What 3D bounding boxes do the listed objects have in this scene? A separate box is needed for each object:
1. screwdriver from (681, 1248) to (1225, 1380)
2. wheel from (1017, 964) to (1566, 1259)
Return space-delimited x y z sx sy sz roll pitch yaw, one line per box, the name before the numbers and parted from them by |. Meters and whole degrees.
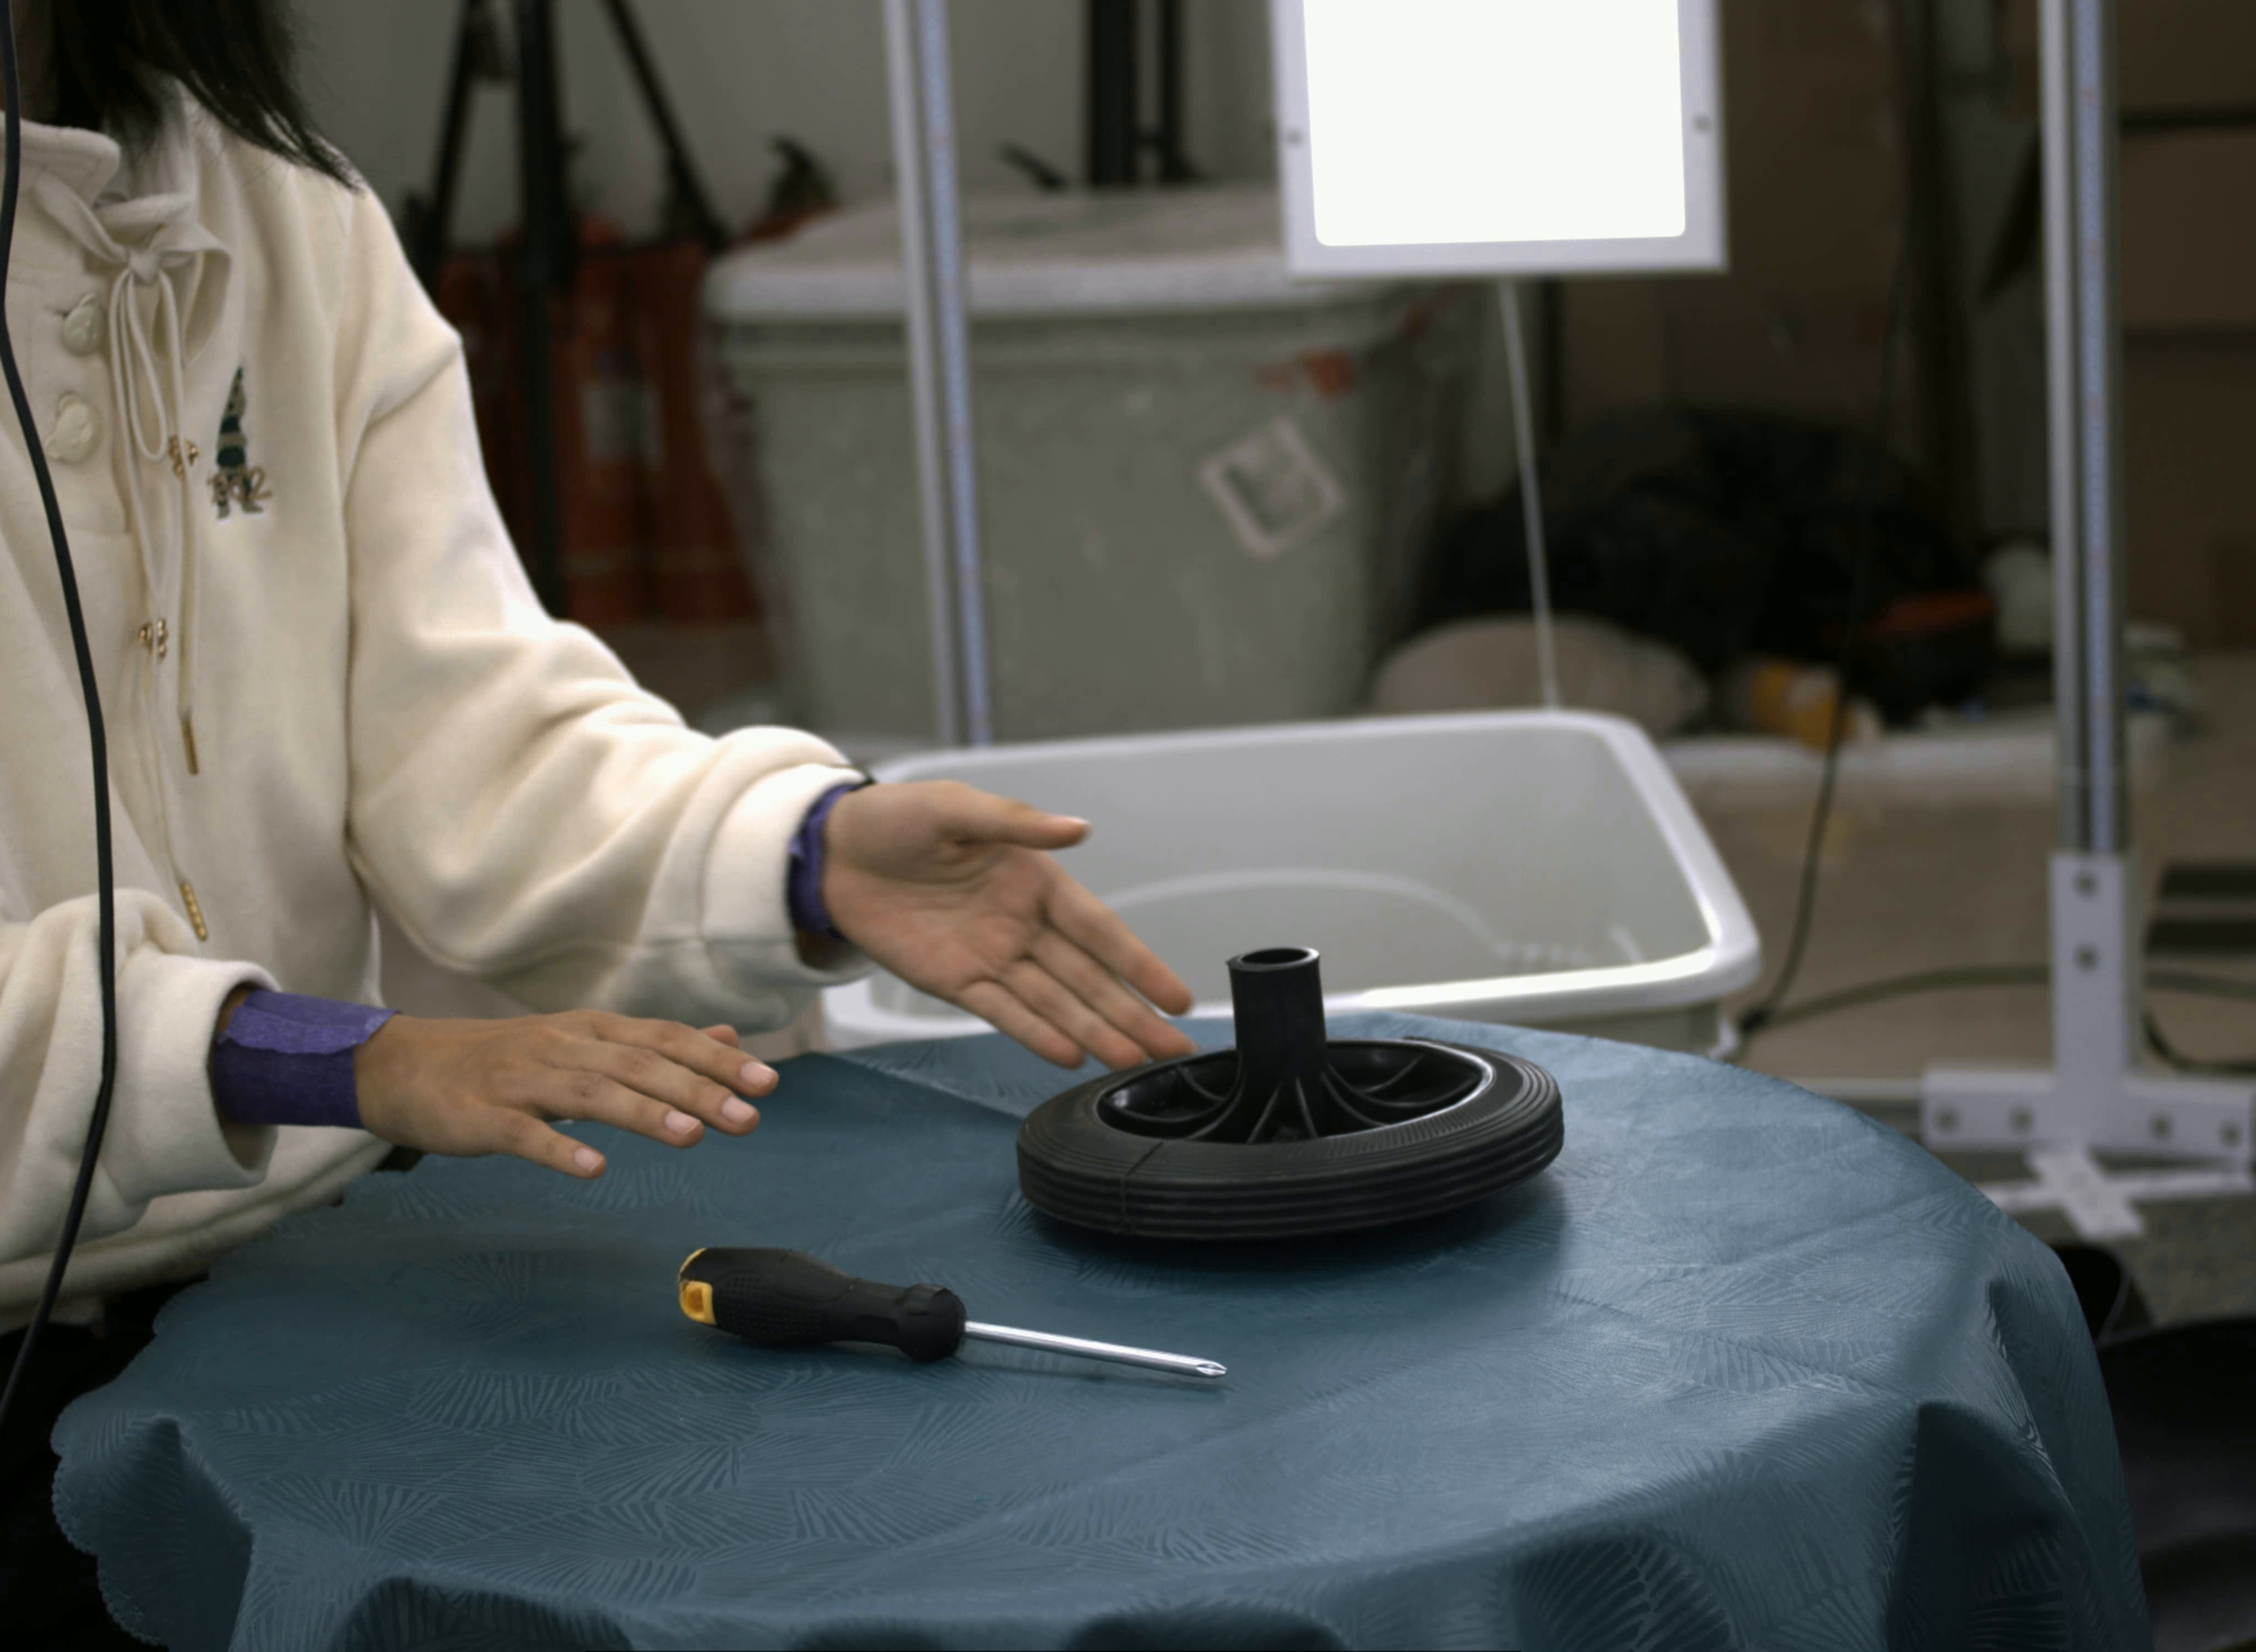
screwdriver | -0.055 0.156 1.746 0.199 0.031 0.031 5 16 27
wheel | 0.054 0.089 1.873 0.185 0.079 0.192 -9 14 -14
